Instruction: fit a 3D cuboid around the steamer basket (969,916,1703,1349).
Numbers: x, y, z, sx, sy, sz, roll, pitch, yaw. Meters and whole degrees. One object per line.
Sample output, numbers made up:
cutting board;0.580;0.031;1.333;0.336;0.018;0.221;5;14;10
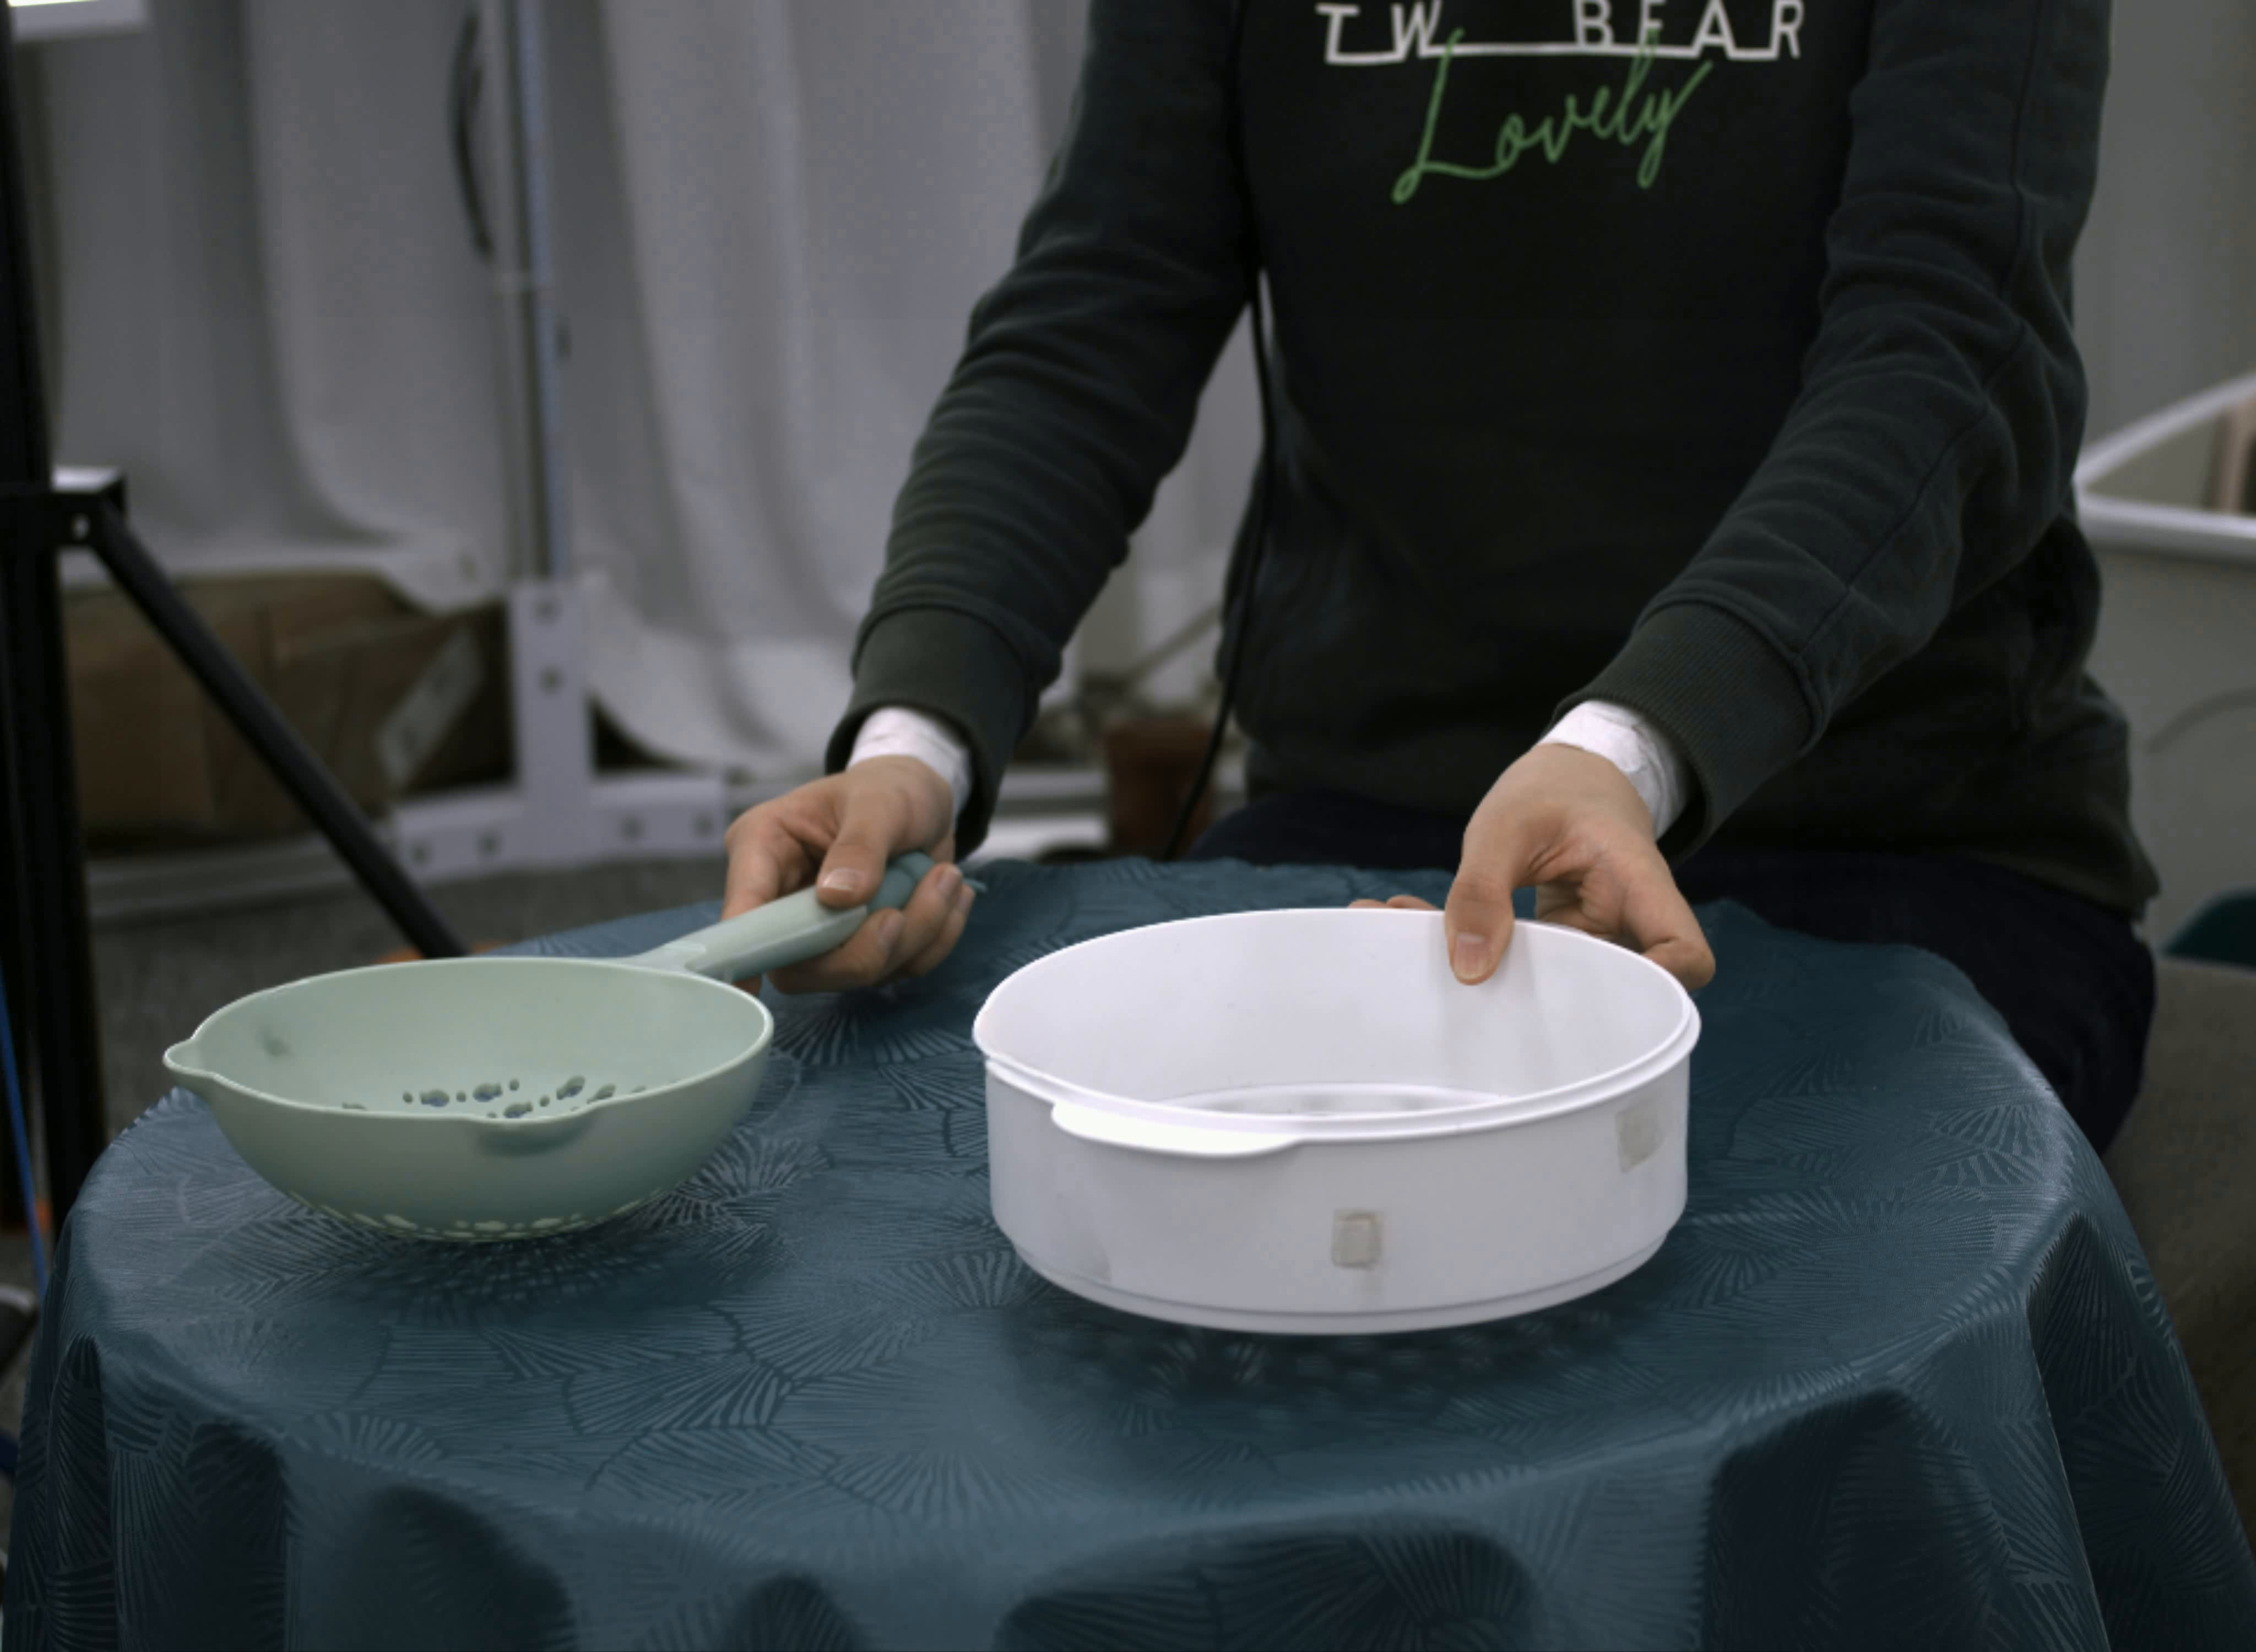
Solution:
steamer basket;0.057;0.084;1.460;0.205;0.069;0.226;7;17;27

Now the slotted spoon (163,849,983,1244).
slotted spoon;-0.140;0.052;1.634;0.172;0.075;0.353;7;24;28
